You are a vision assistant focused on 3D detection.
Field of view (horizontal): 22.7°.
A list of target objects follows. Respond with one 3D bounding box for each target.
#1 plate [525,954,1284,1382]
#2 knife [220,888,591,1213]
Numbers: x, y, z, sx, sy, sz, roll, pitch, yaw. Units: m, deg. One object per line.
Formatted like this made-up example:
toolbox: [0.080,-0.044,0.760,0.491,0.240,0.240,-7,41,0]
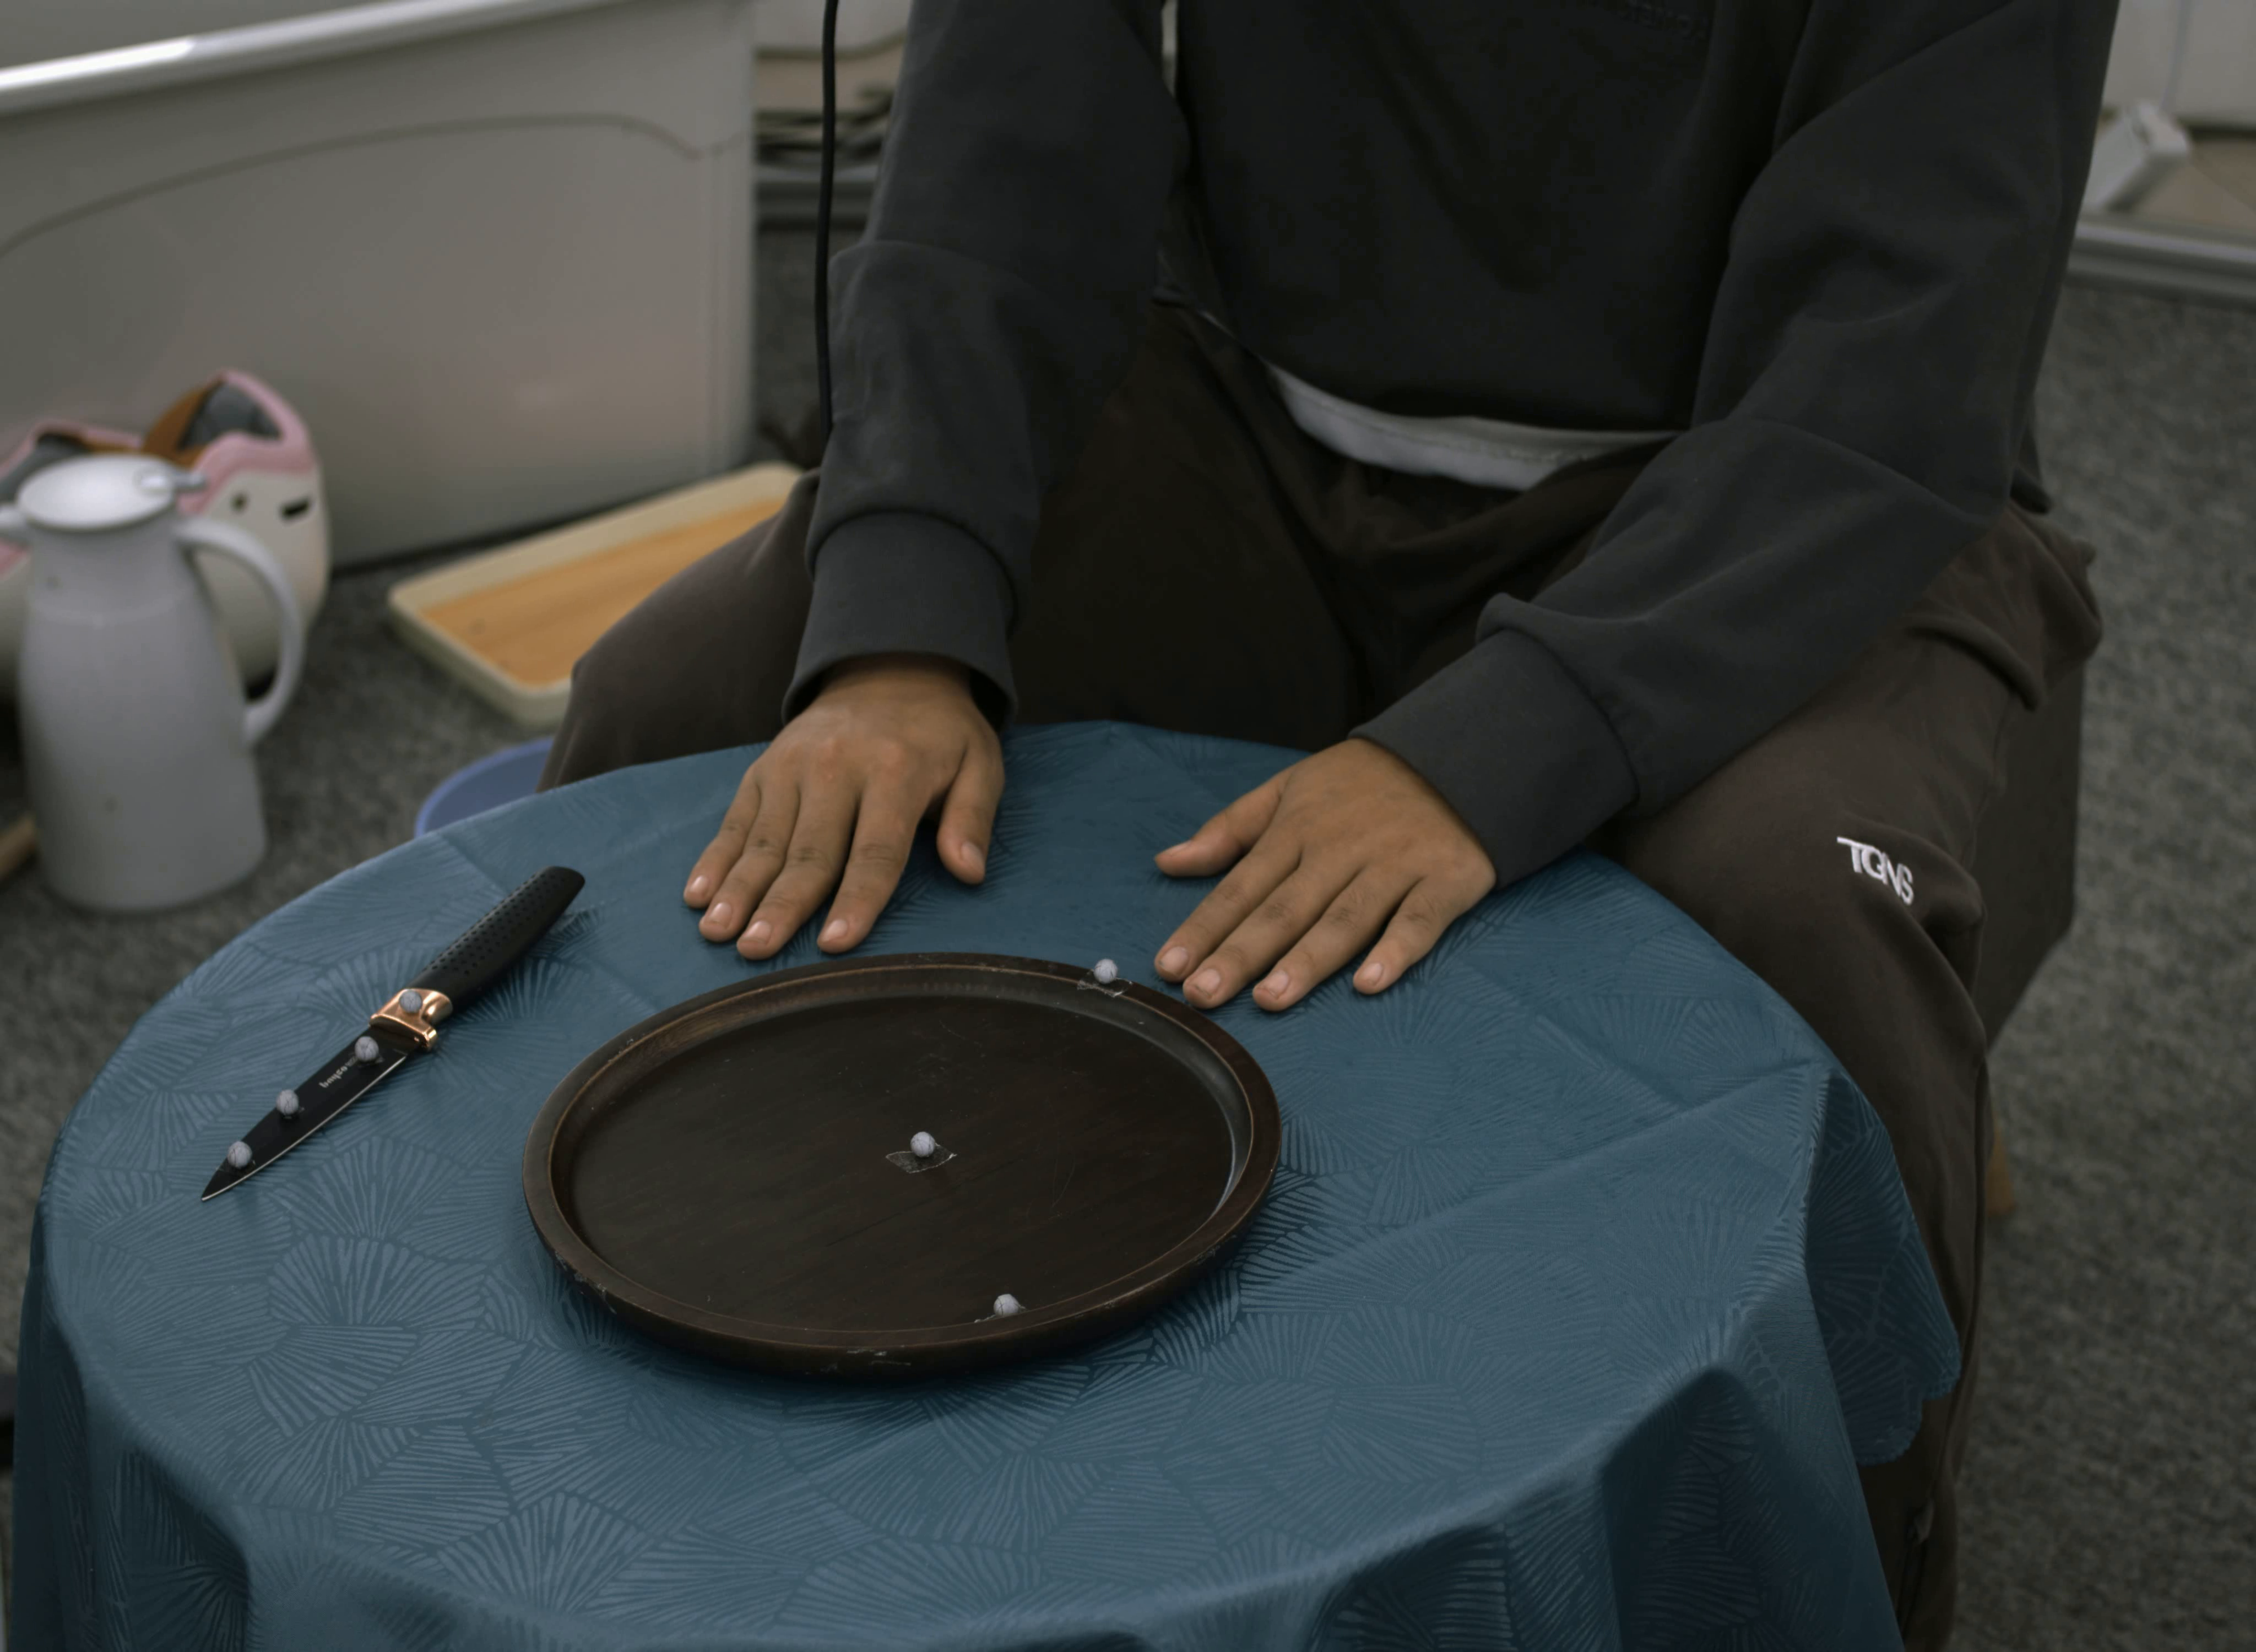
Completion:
plate: [-0.074,0.112,1.865,0.253,0.029,0.258,-2,26,1]
knife: [-0.253,0.077,1.962,0.026,0.017,0.229,17,34,23]
